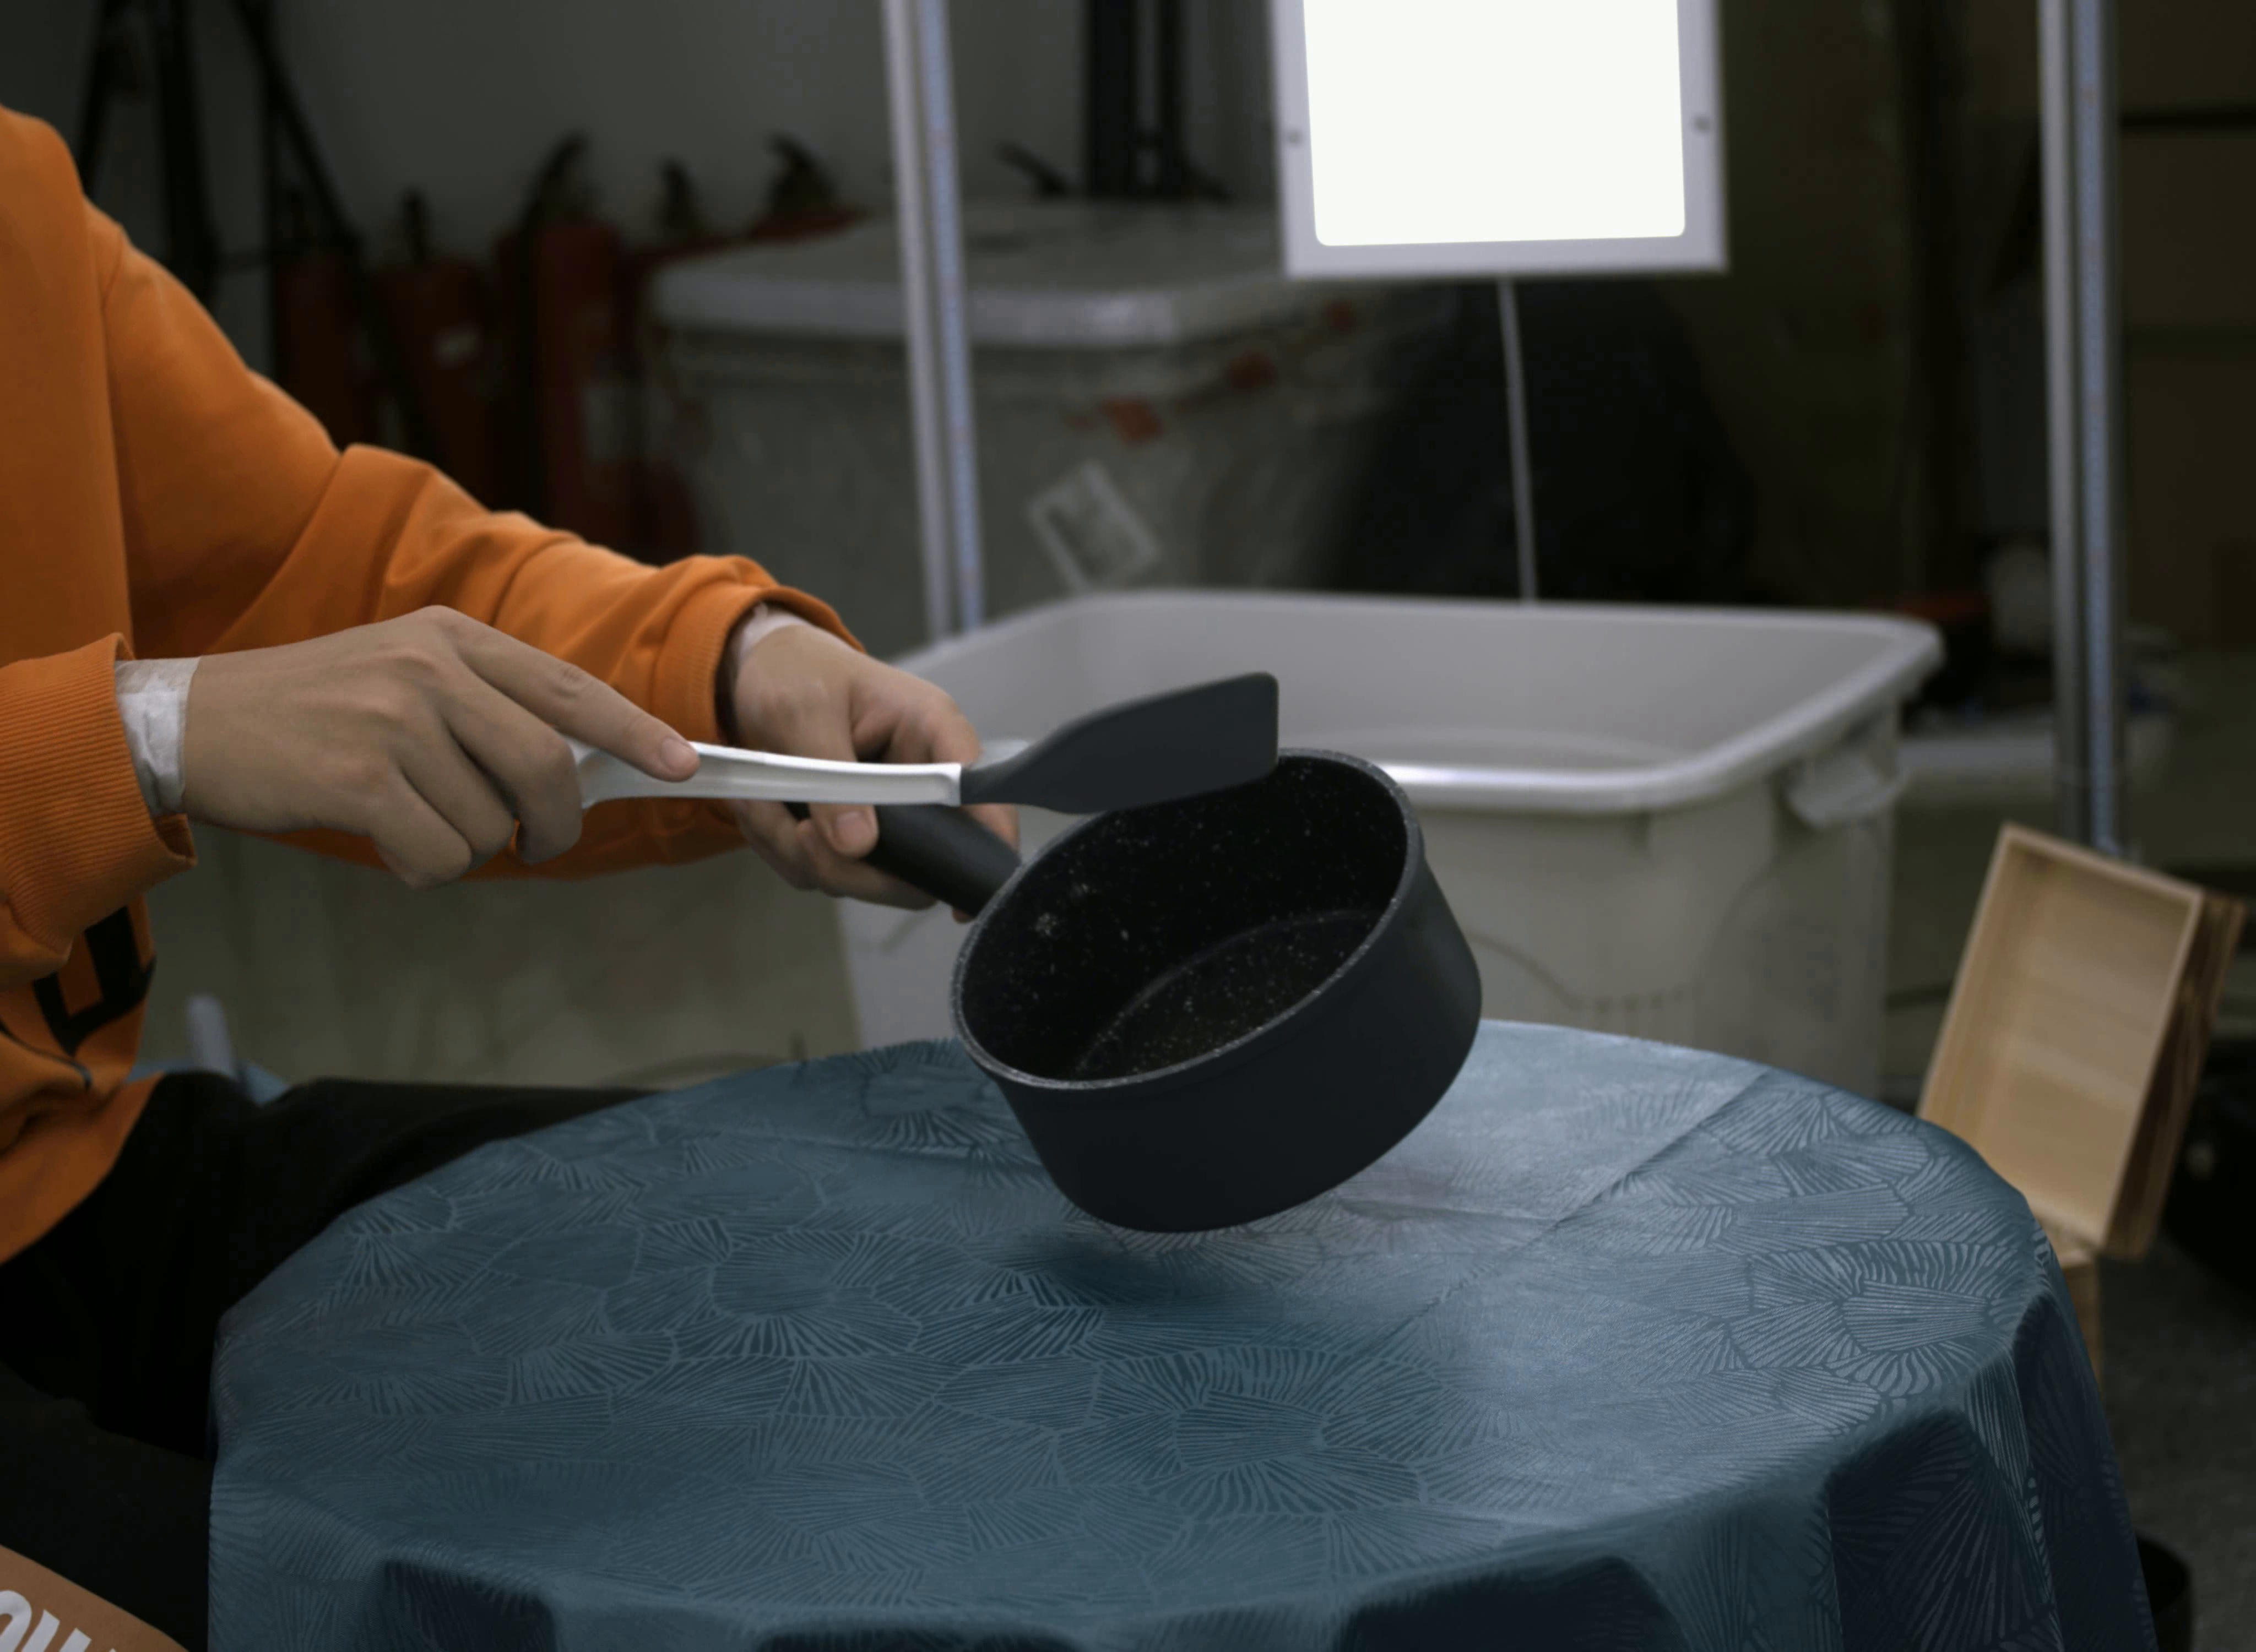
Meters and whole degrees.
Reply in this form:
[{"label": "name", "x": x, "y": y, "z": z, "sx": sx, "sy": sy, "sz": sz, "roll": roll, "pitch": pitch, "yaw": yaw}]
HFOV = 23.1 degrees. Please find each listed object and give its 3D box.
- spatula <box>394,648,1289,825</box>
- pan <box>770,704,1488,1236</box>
[{"label": "spatula", "x": -0.090, "y": -0.024, "z": 1.763, "sx": 0.287, "sy": 0.059, "sz": 0.032, "roll": -3, "pitch": 46, "yaw": 1}, {"label": "pan", "x": -0.014, "y": 0.036, "z": 1.916, "sx": 0.170, "sy": 0.086, "sz": 0.335, "roll": -41, "pitch": 35, "yaw": -19}]
